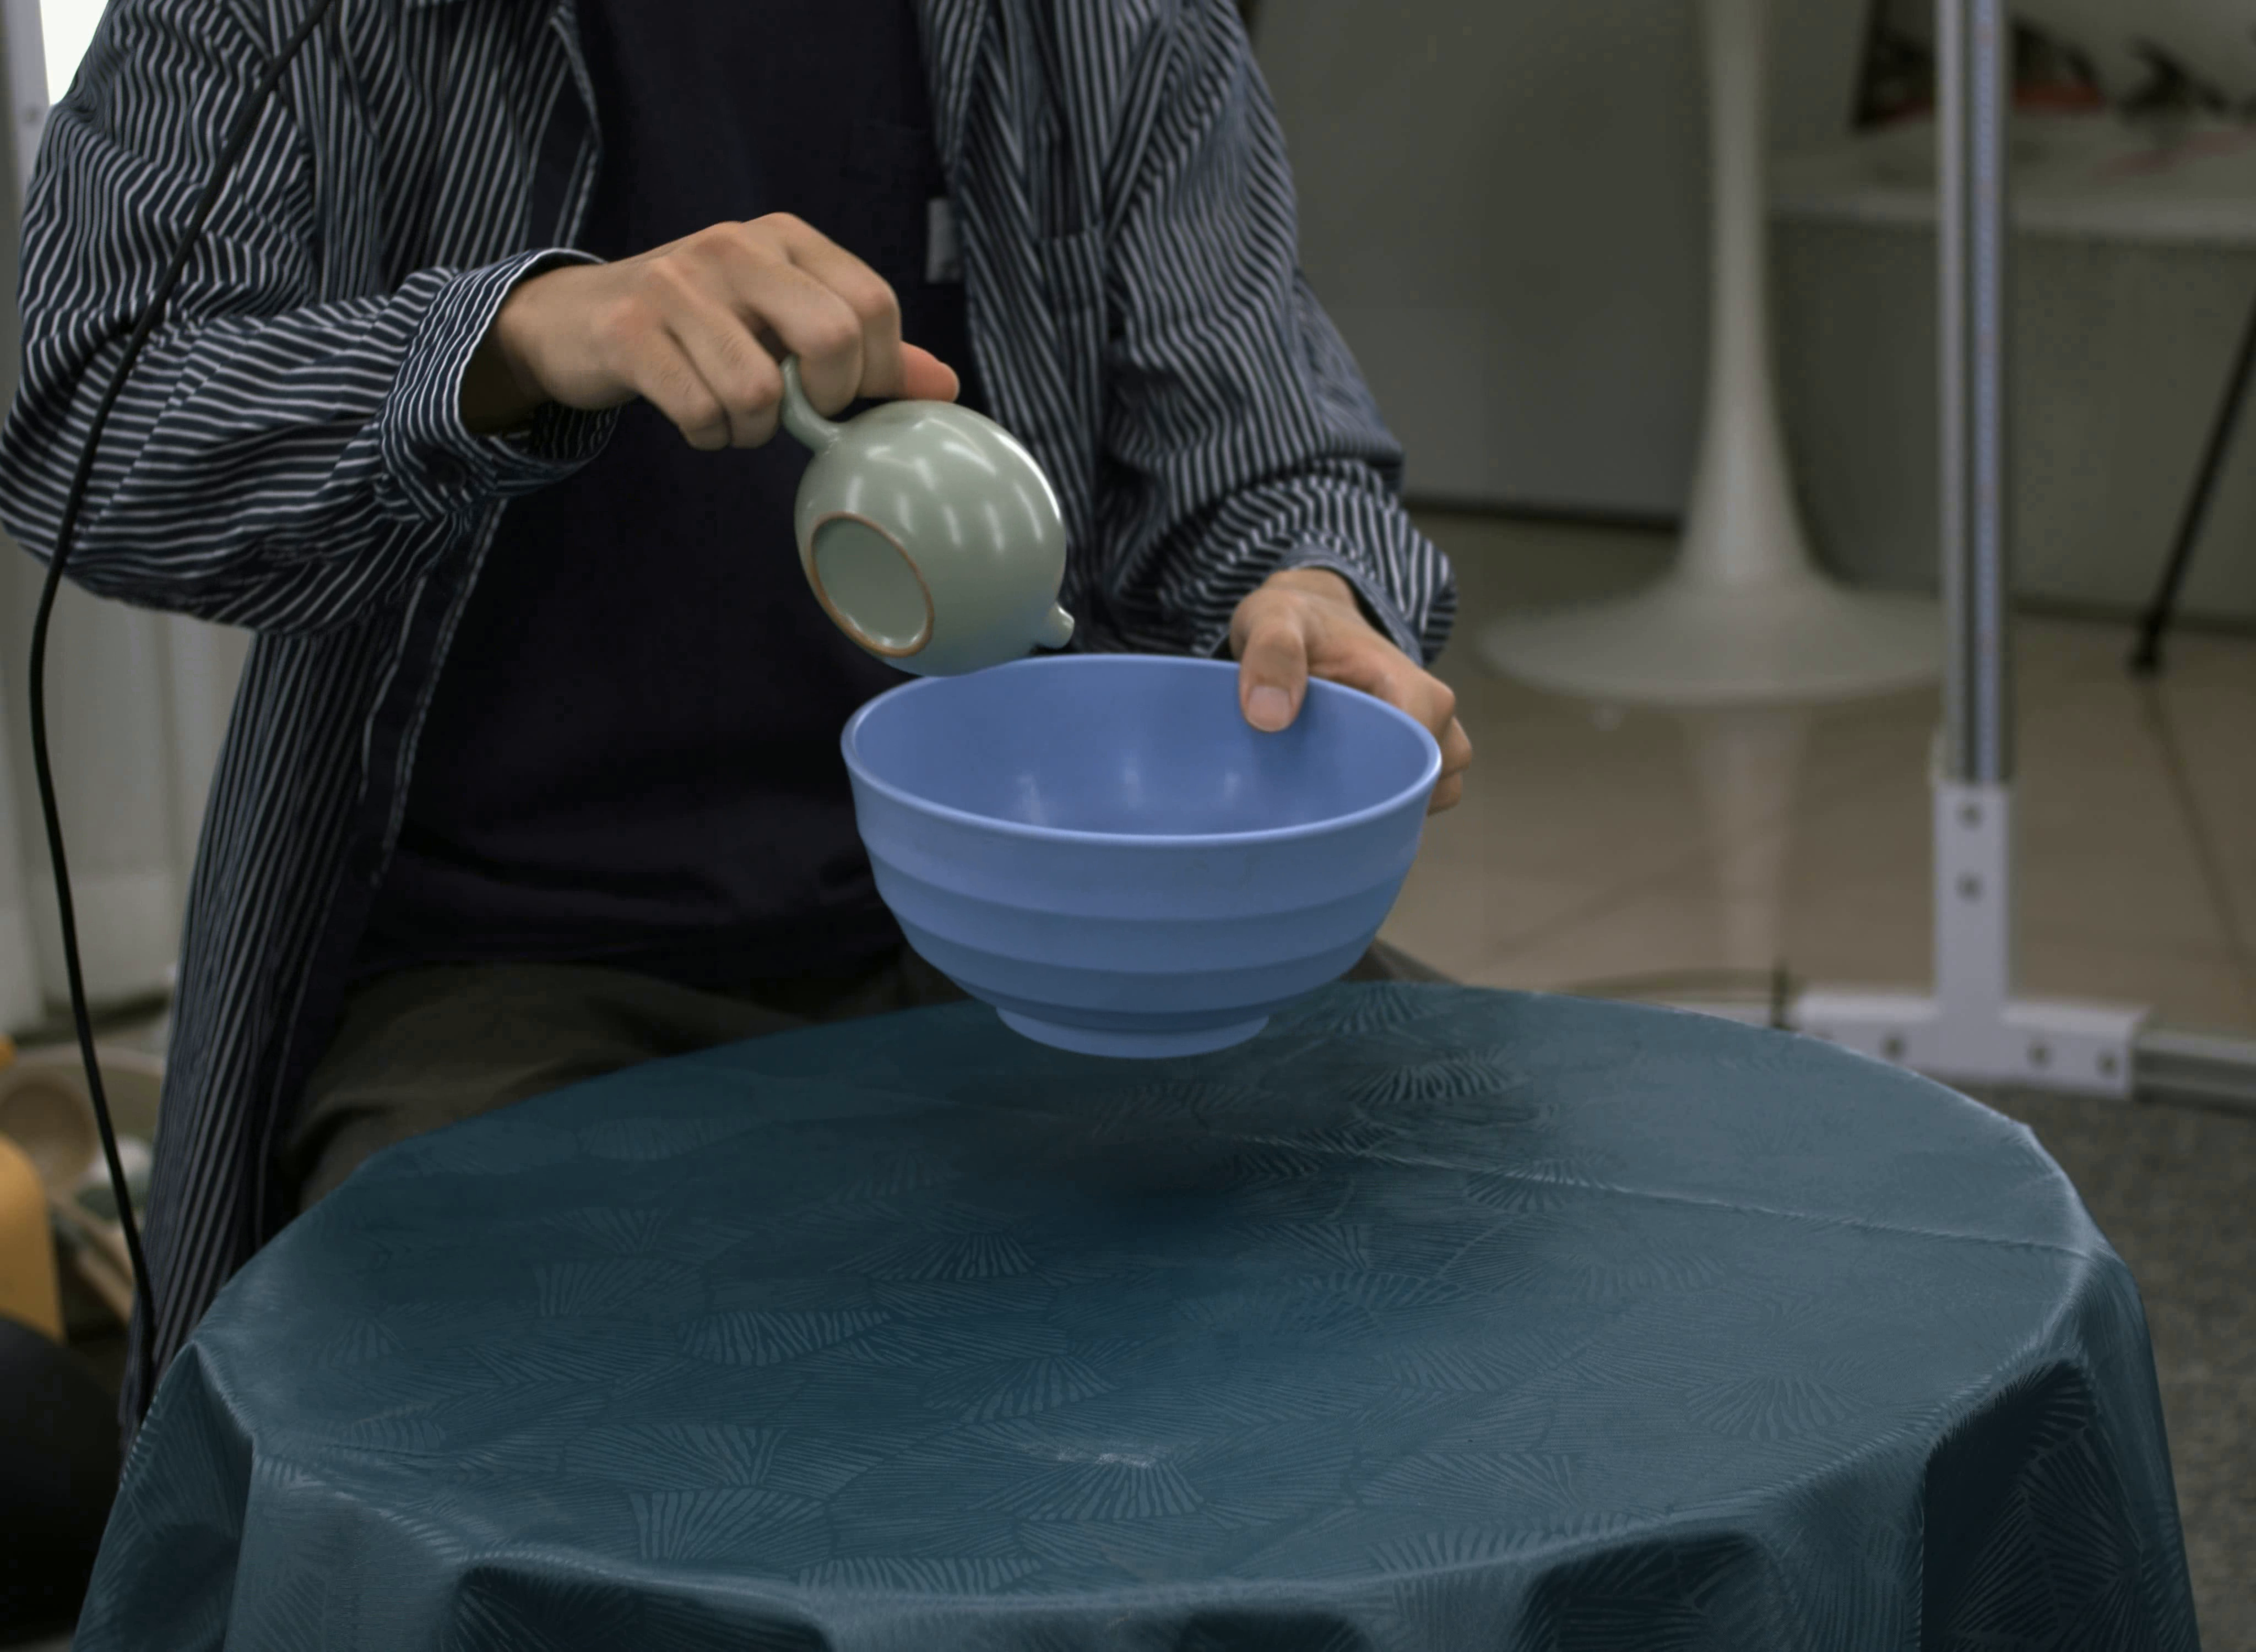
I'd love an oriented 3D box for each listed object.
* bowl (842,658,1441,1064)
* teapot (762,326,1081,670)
[{"bbox_3d":[0.003,0.017,1.758,0.194,0.096,0.197,1,18,-1],"label":"bowl"},{"bbox_3d":[-0.069,-0.101,1.703,0.060,0.129,0.092,-40,5,-34],"label":"teapot"}]
